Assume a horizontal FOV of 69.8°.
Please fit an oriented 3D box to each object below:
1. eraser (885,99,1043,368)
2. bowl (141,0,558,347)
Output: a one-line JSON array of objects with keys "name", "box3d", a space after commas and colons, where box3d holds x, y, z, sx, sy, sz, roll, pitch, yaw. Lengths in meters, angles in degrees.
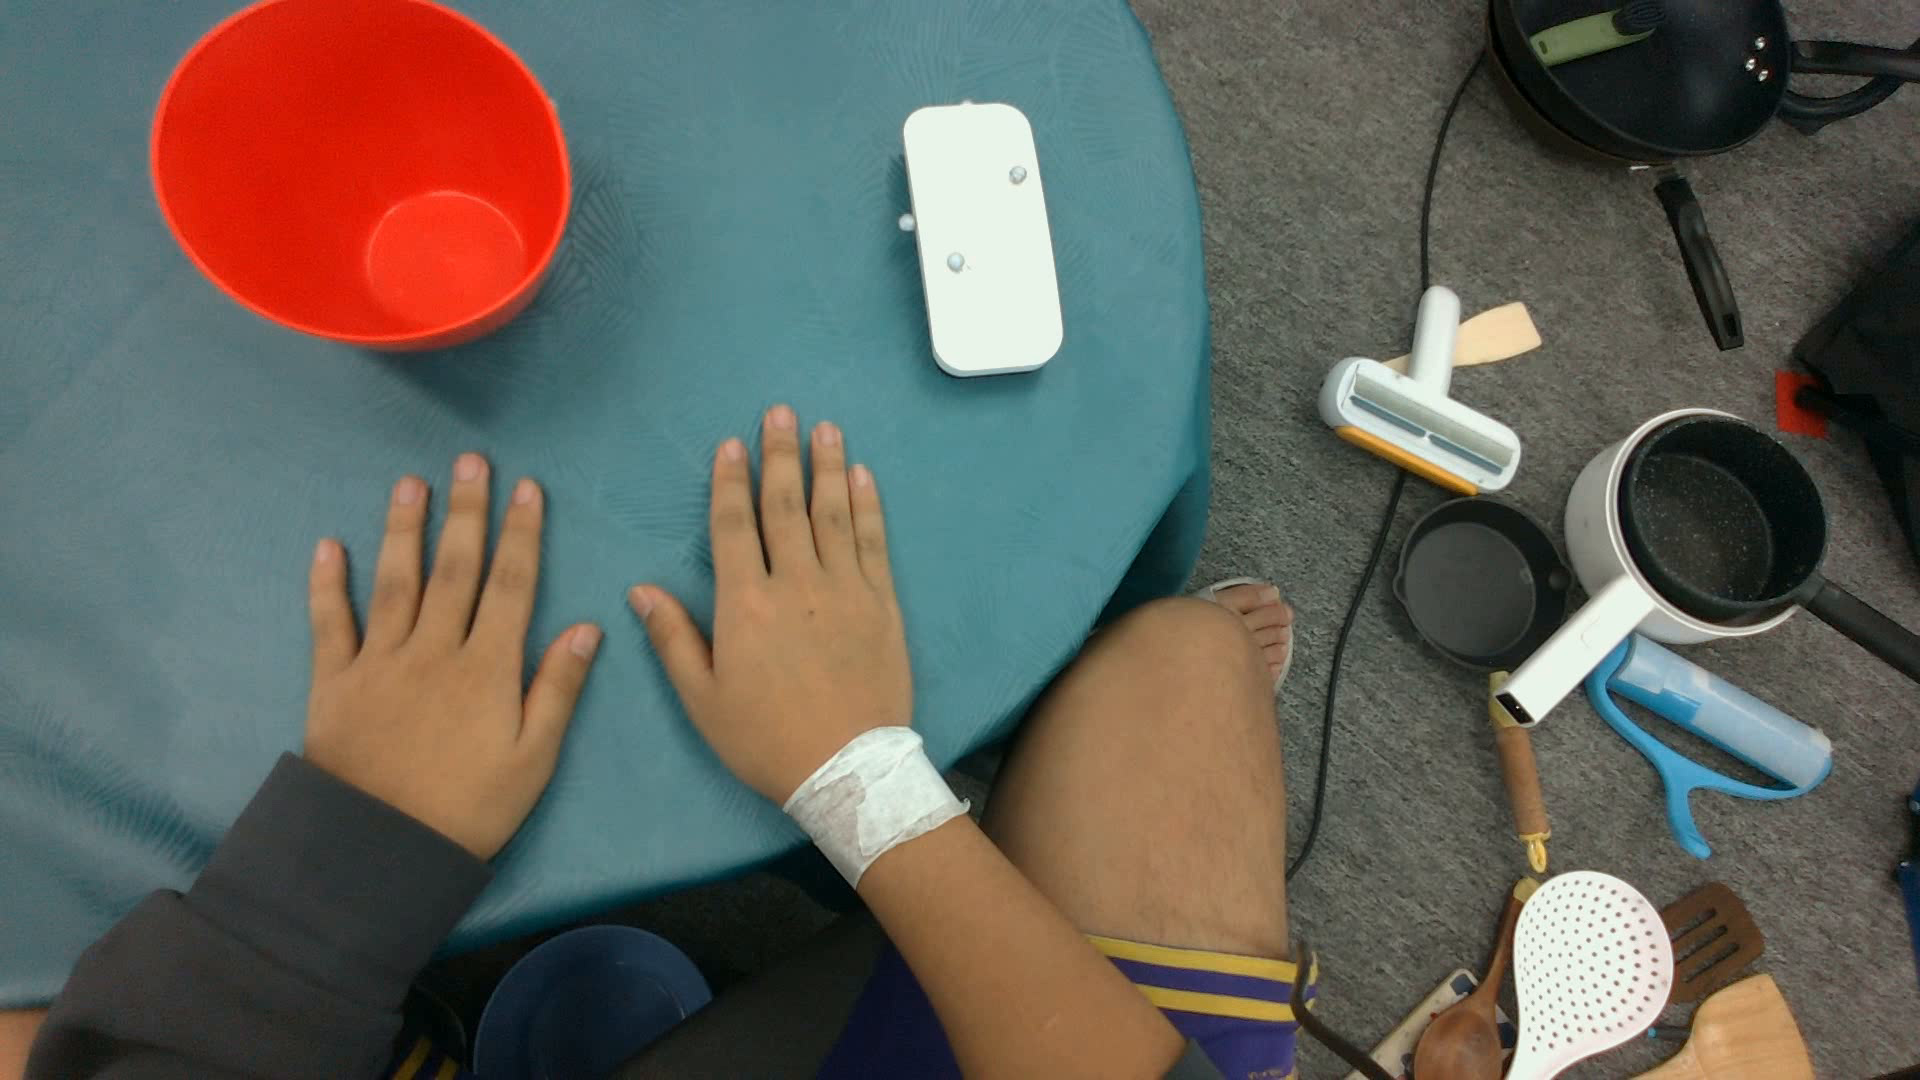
[{"name": "eraser", "box3d": [0.000, -0.145, 0.648, 0.063, 0.034, 0.131, -5, 76, -9]}, {"name": "bowl", "box3d": [-0.241, -0.140, 0.575, 0.148, 0.104, 0.148, 2, 76, -9]}]
